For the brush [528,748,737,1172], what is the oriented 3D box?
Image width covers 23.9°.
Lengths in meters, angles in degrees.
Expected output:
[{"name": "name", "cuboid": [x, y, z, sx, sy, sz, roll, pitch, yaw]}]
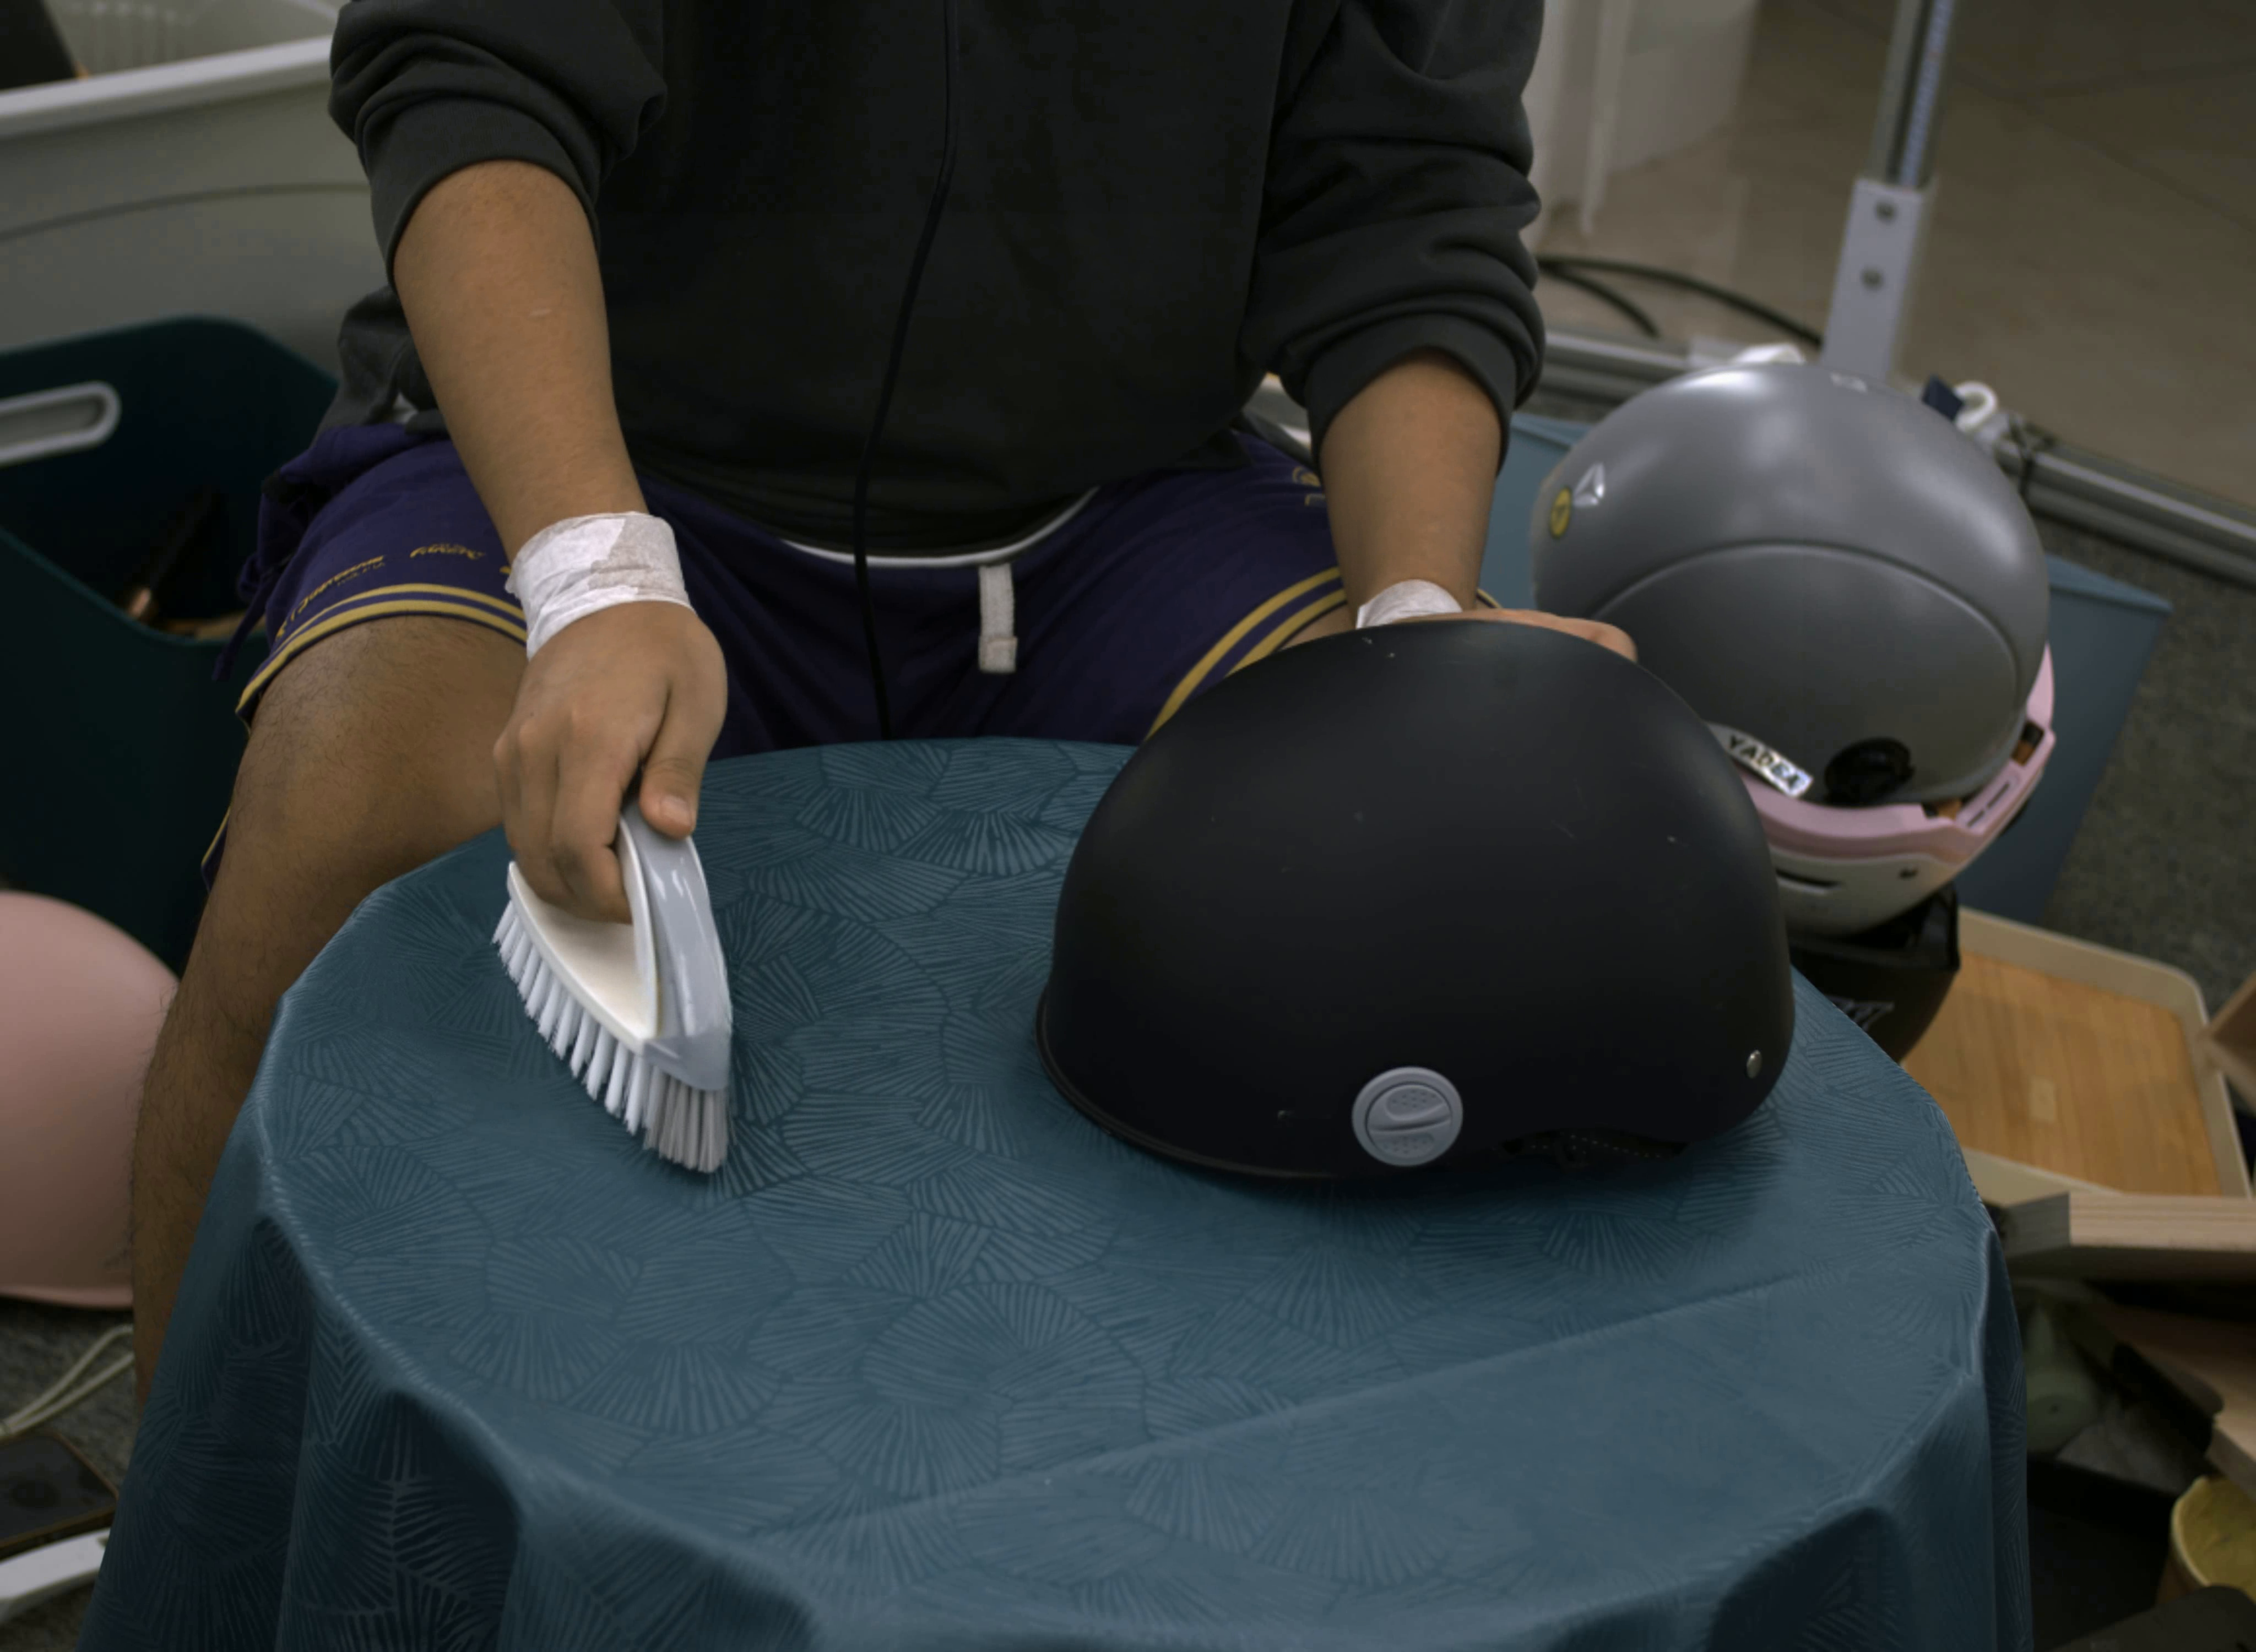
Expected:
[{"name": "brush", "cuboid": [-0.163, 0.038, 1.831, 0.061, 0.094, 0.177, -2, 30, -19]}]

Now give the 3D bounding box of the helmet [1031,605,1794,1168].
[{"name": "helmet", "cuboid": [0.105, 0.011, 1.872, 0.271, 0.166, 0.232, -2, 28, -13]}]
